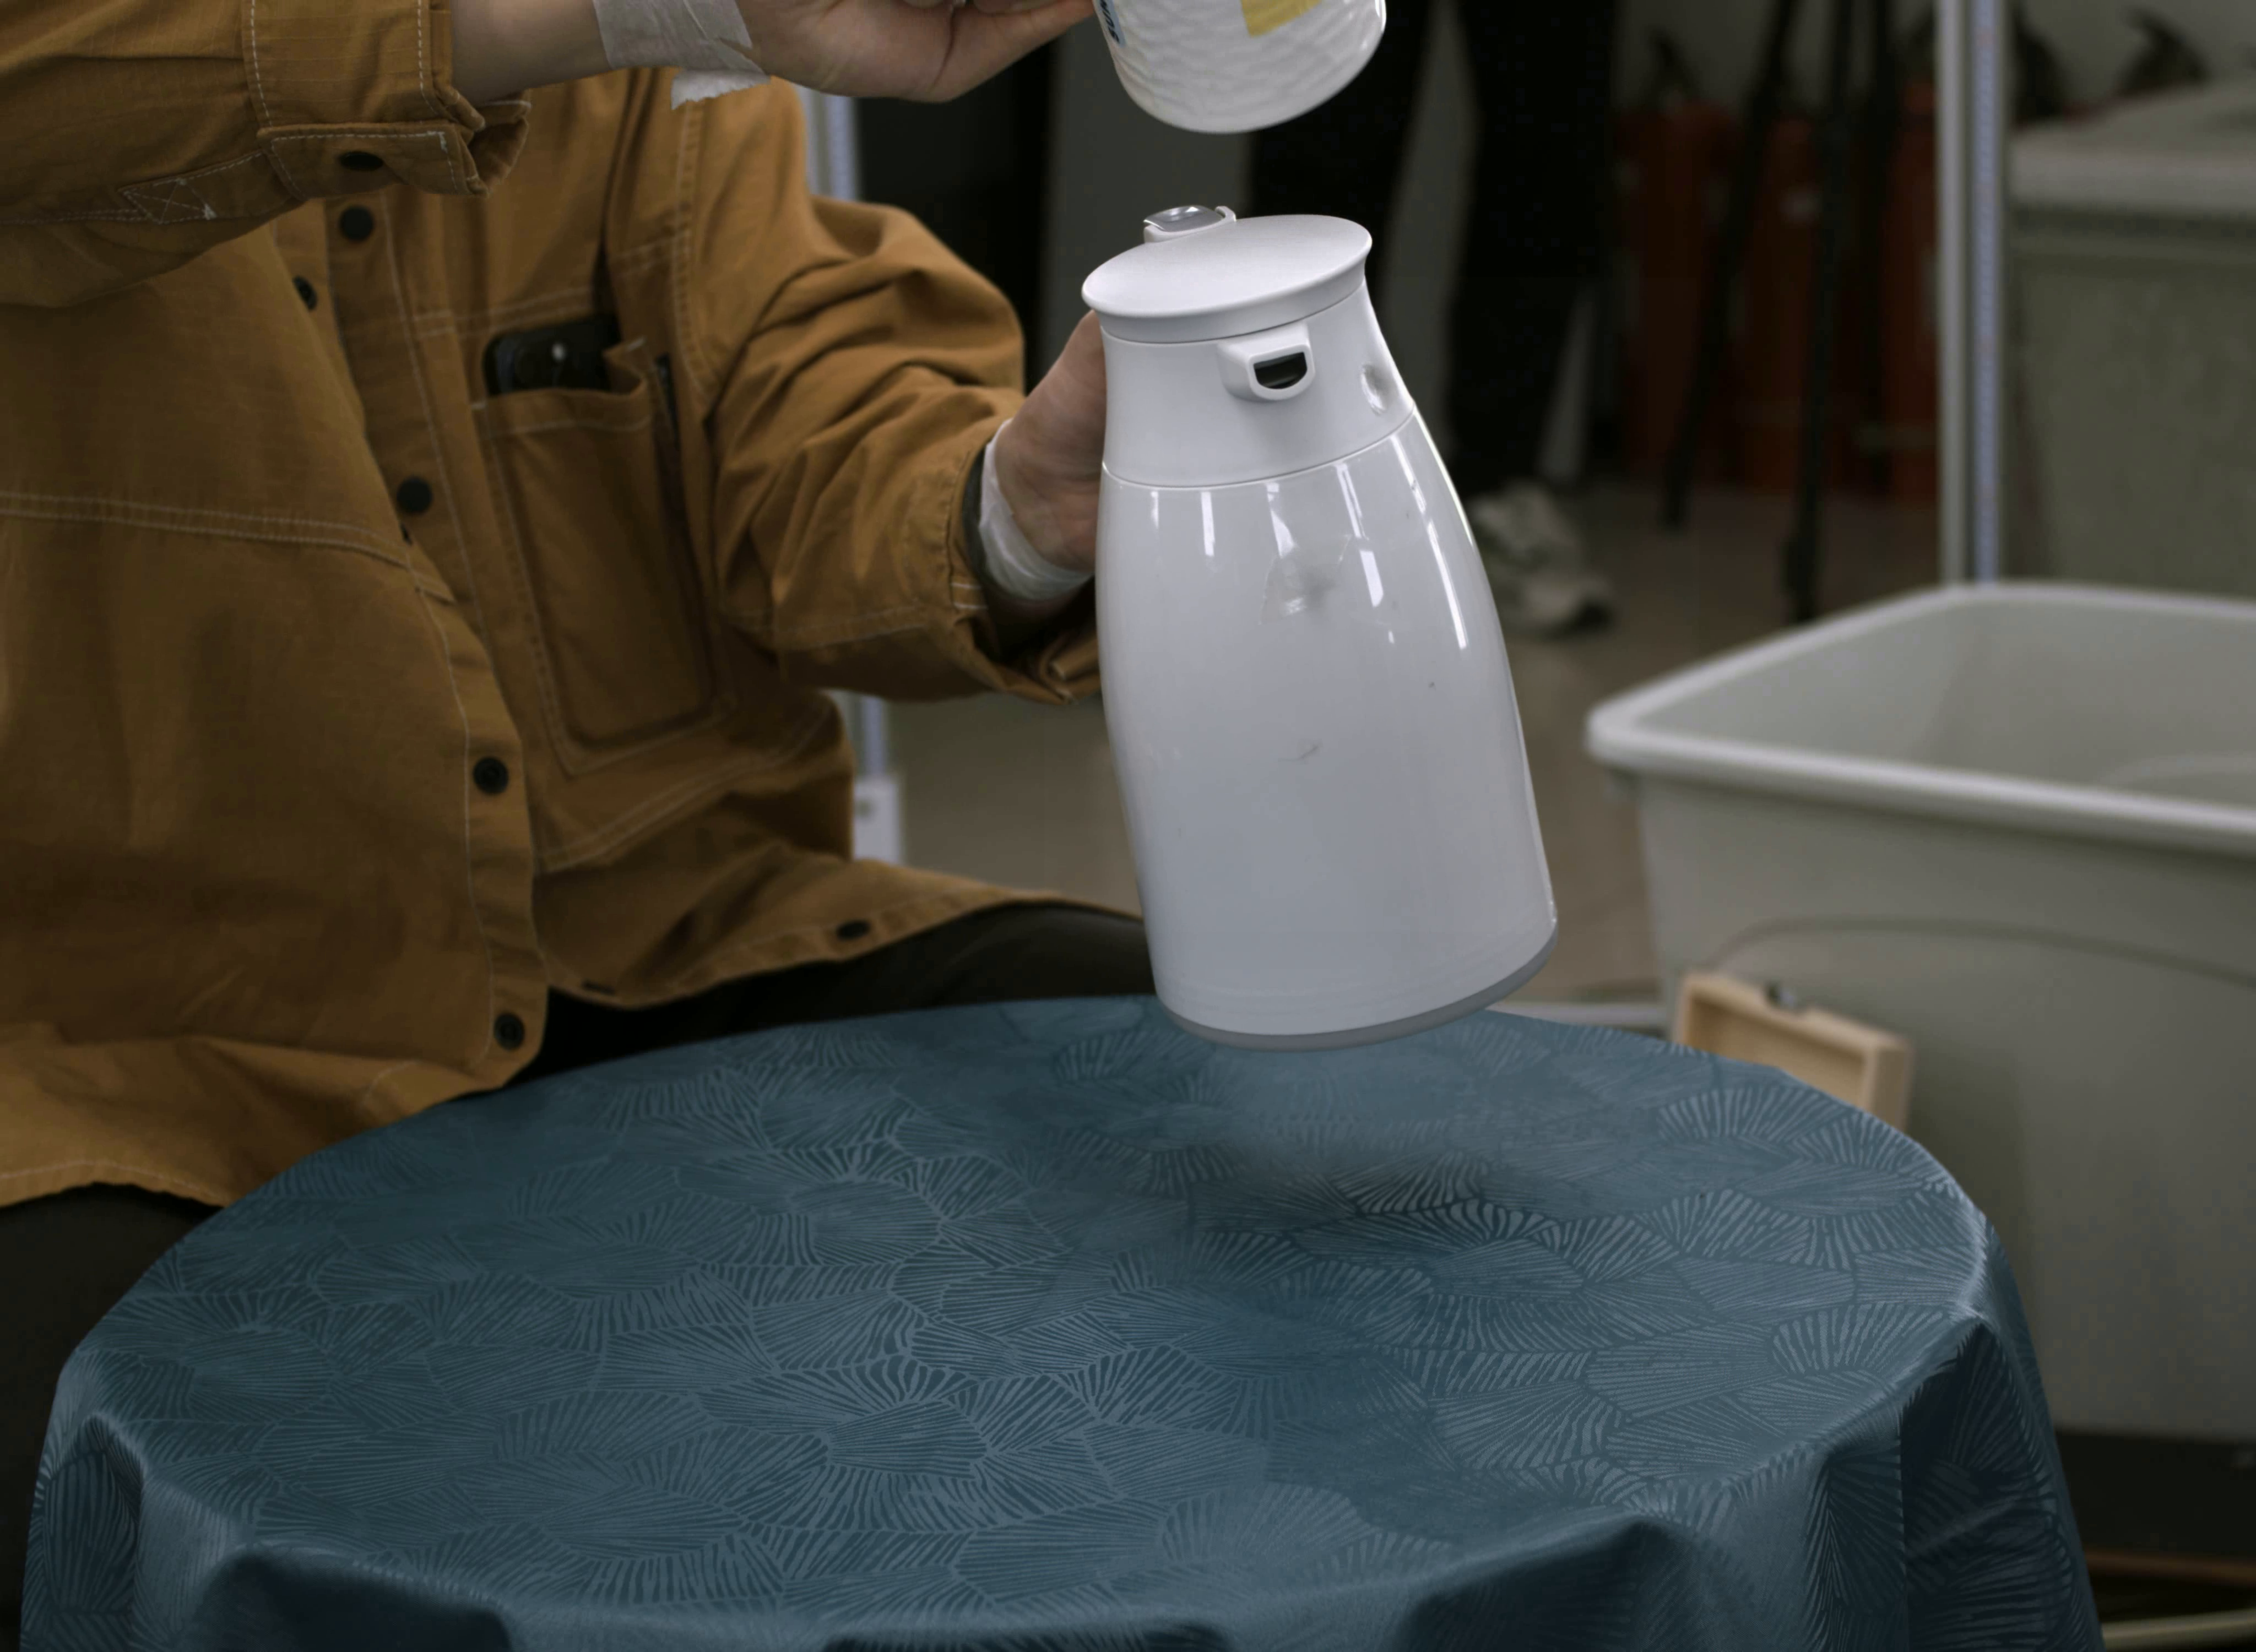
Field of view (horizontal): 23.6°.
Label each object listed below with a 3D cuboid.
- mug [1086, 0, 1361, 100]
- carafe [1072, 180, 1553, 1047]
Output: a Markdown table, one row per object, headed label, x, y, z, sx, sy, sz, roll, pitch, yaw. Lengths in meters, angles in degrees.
| label | x | y | z | sx | sy | sz | roll | pitch | yaw |
| --- | --- | --- | --- | --- | --- | --- | --- | --- | --- |
| mug | 0.005 | -0.286 | 1.628 | 0.118 | 0.101 | 0.085 | 9 | 54 | 28 |
| carafe | 0.044 | -0.077 | 1.712 | 0.130 | 0.250 | 0.169 | -16 | 20 | -8 |
